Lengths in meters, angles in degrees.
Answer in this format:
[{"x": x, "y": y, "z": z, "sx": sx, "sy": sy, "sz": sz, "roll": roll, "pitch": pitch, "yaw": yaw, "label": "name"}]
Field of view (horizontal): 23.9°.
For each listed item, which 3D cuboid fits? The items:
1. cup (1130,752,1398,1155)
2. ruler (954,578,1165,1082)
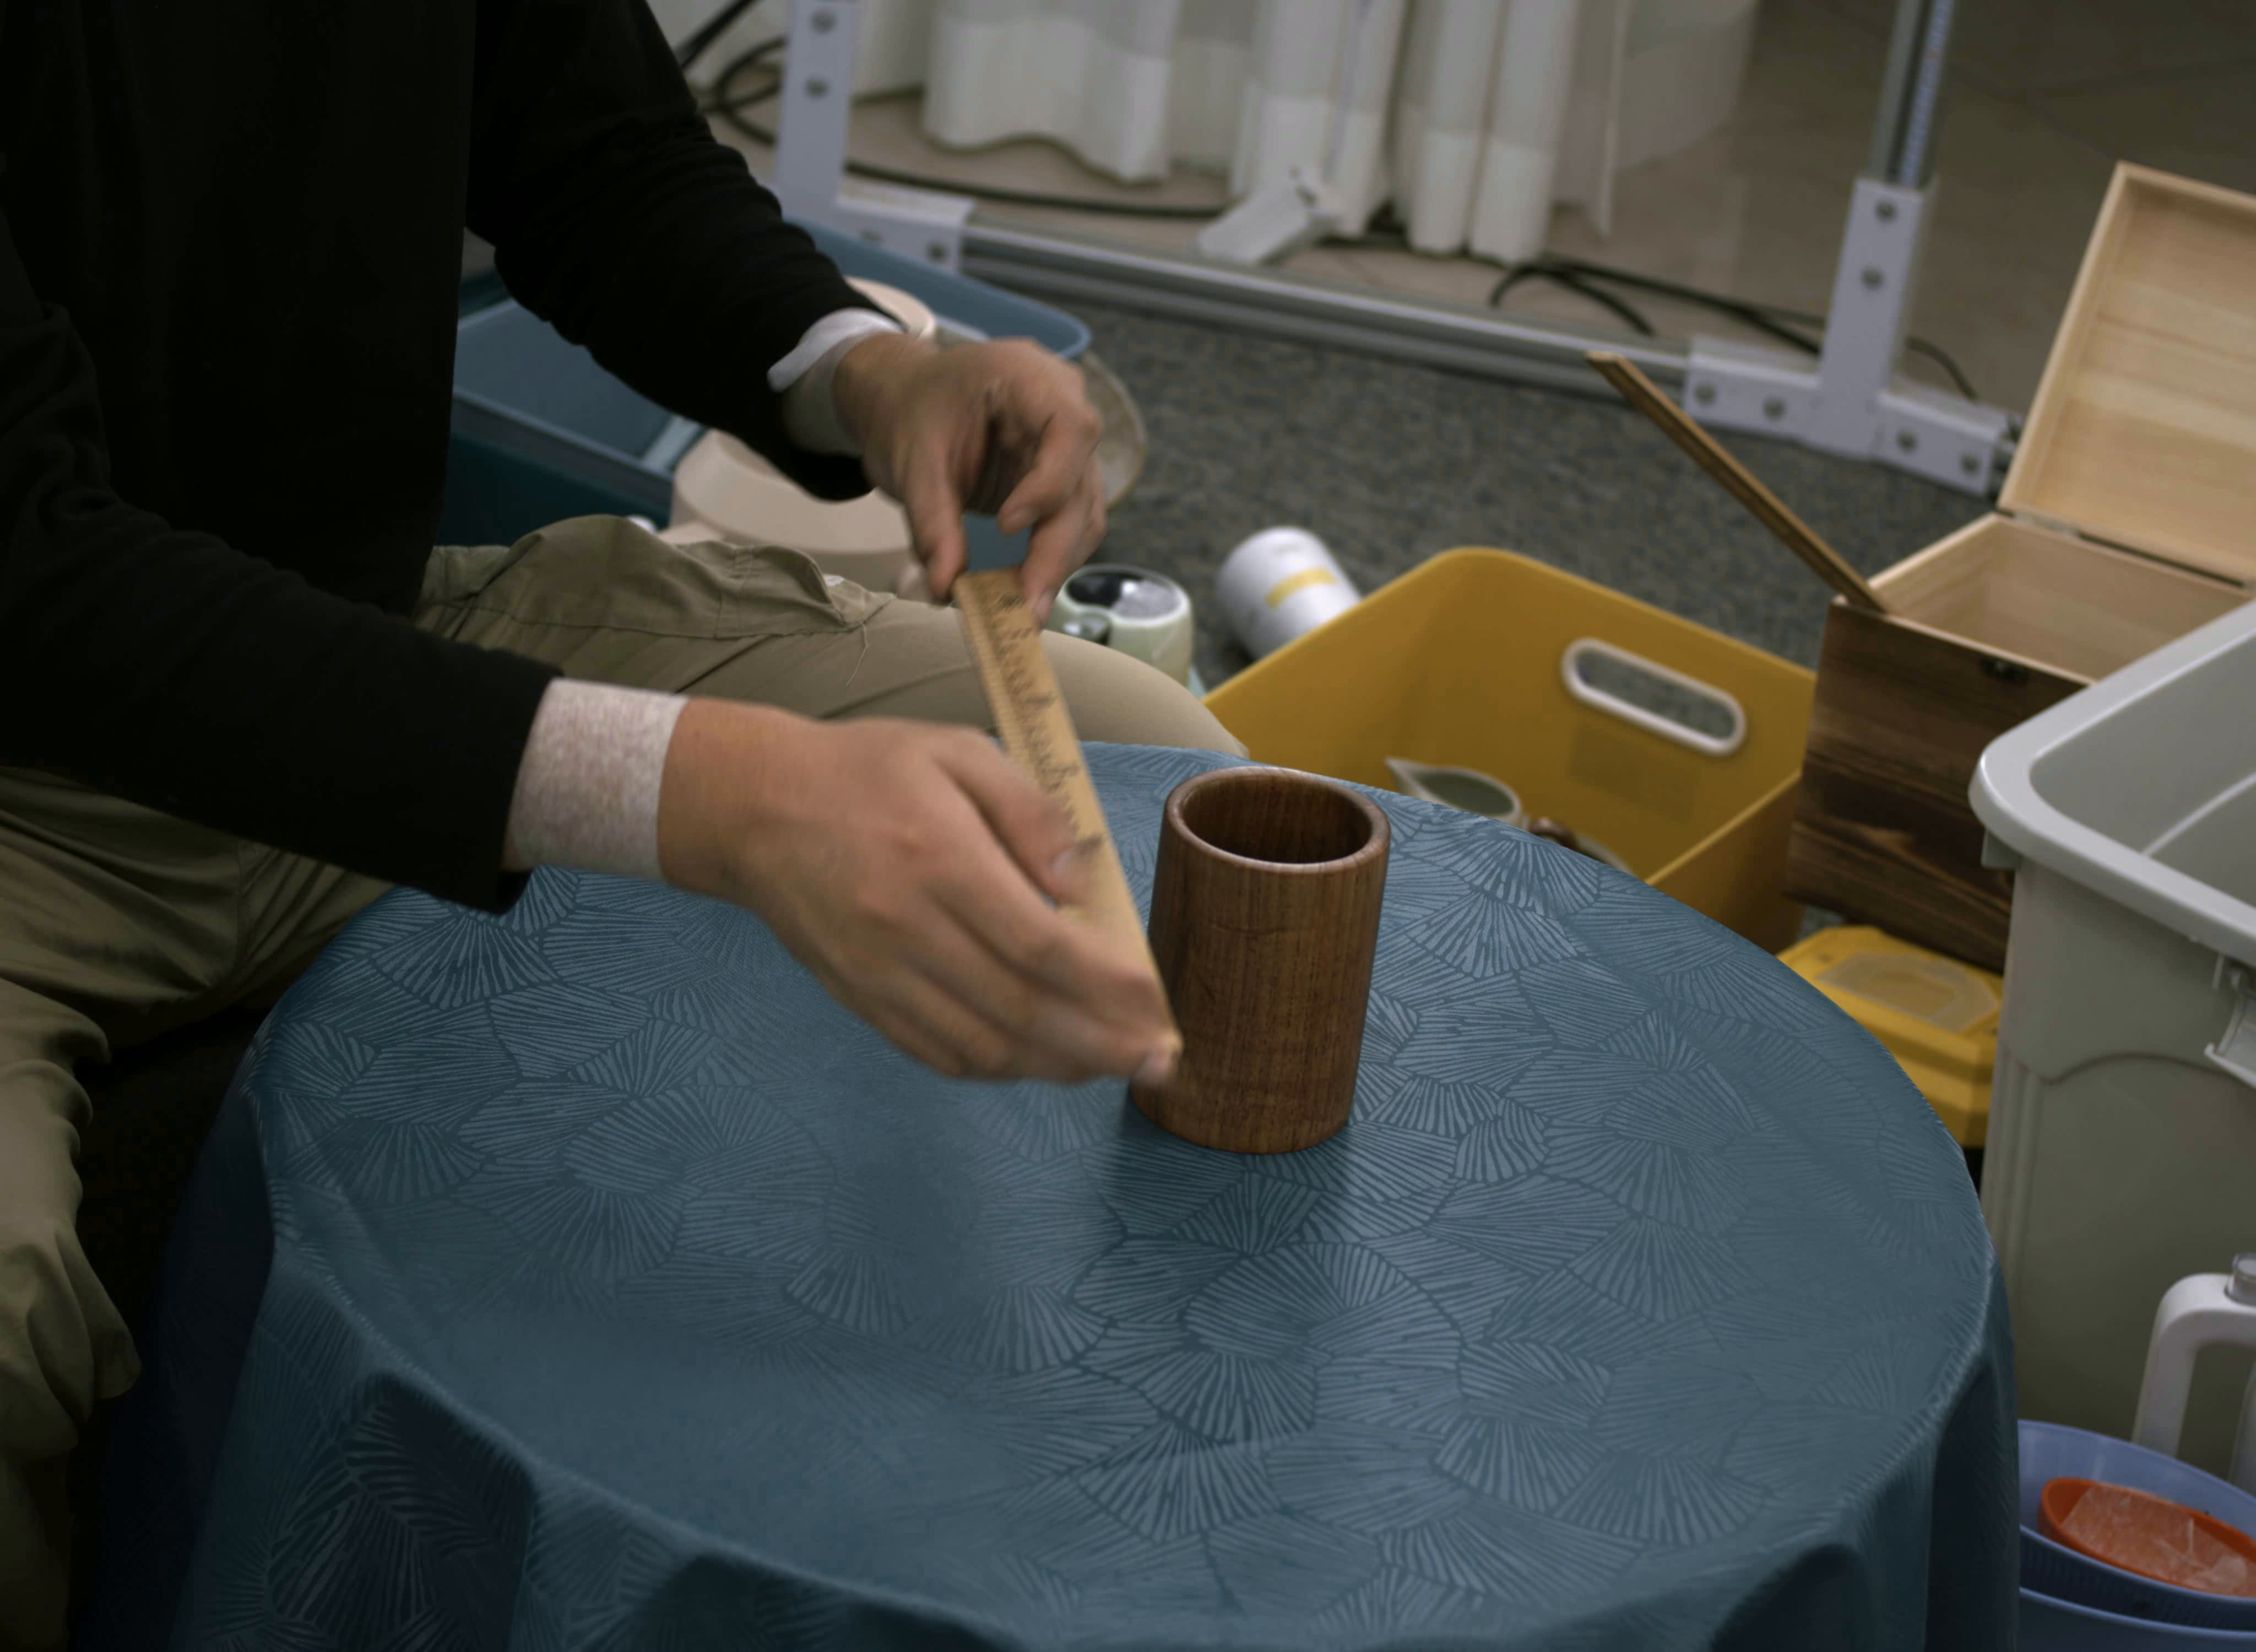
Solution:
[{"x": 0.046, "y": 0.044, "z": 1.840, "sx": 0.087, "sy": 0.118, "sz": 0.088, "roll": 6, "pitch": 26, "yaw": -3, "label": "cup"}, {"x": -0.026, "y": -0.007, "z": 1.782, "sx": 0.027, "sy": 0.022, "sz": 0.334, "roll": -1, "pitch": 29, "yaw": -9, "label": "ruler"}]
